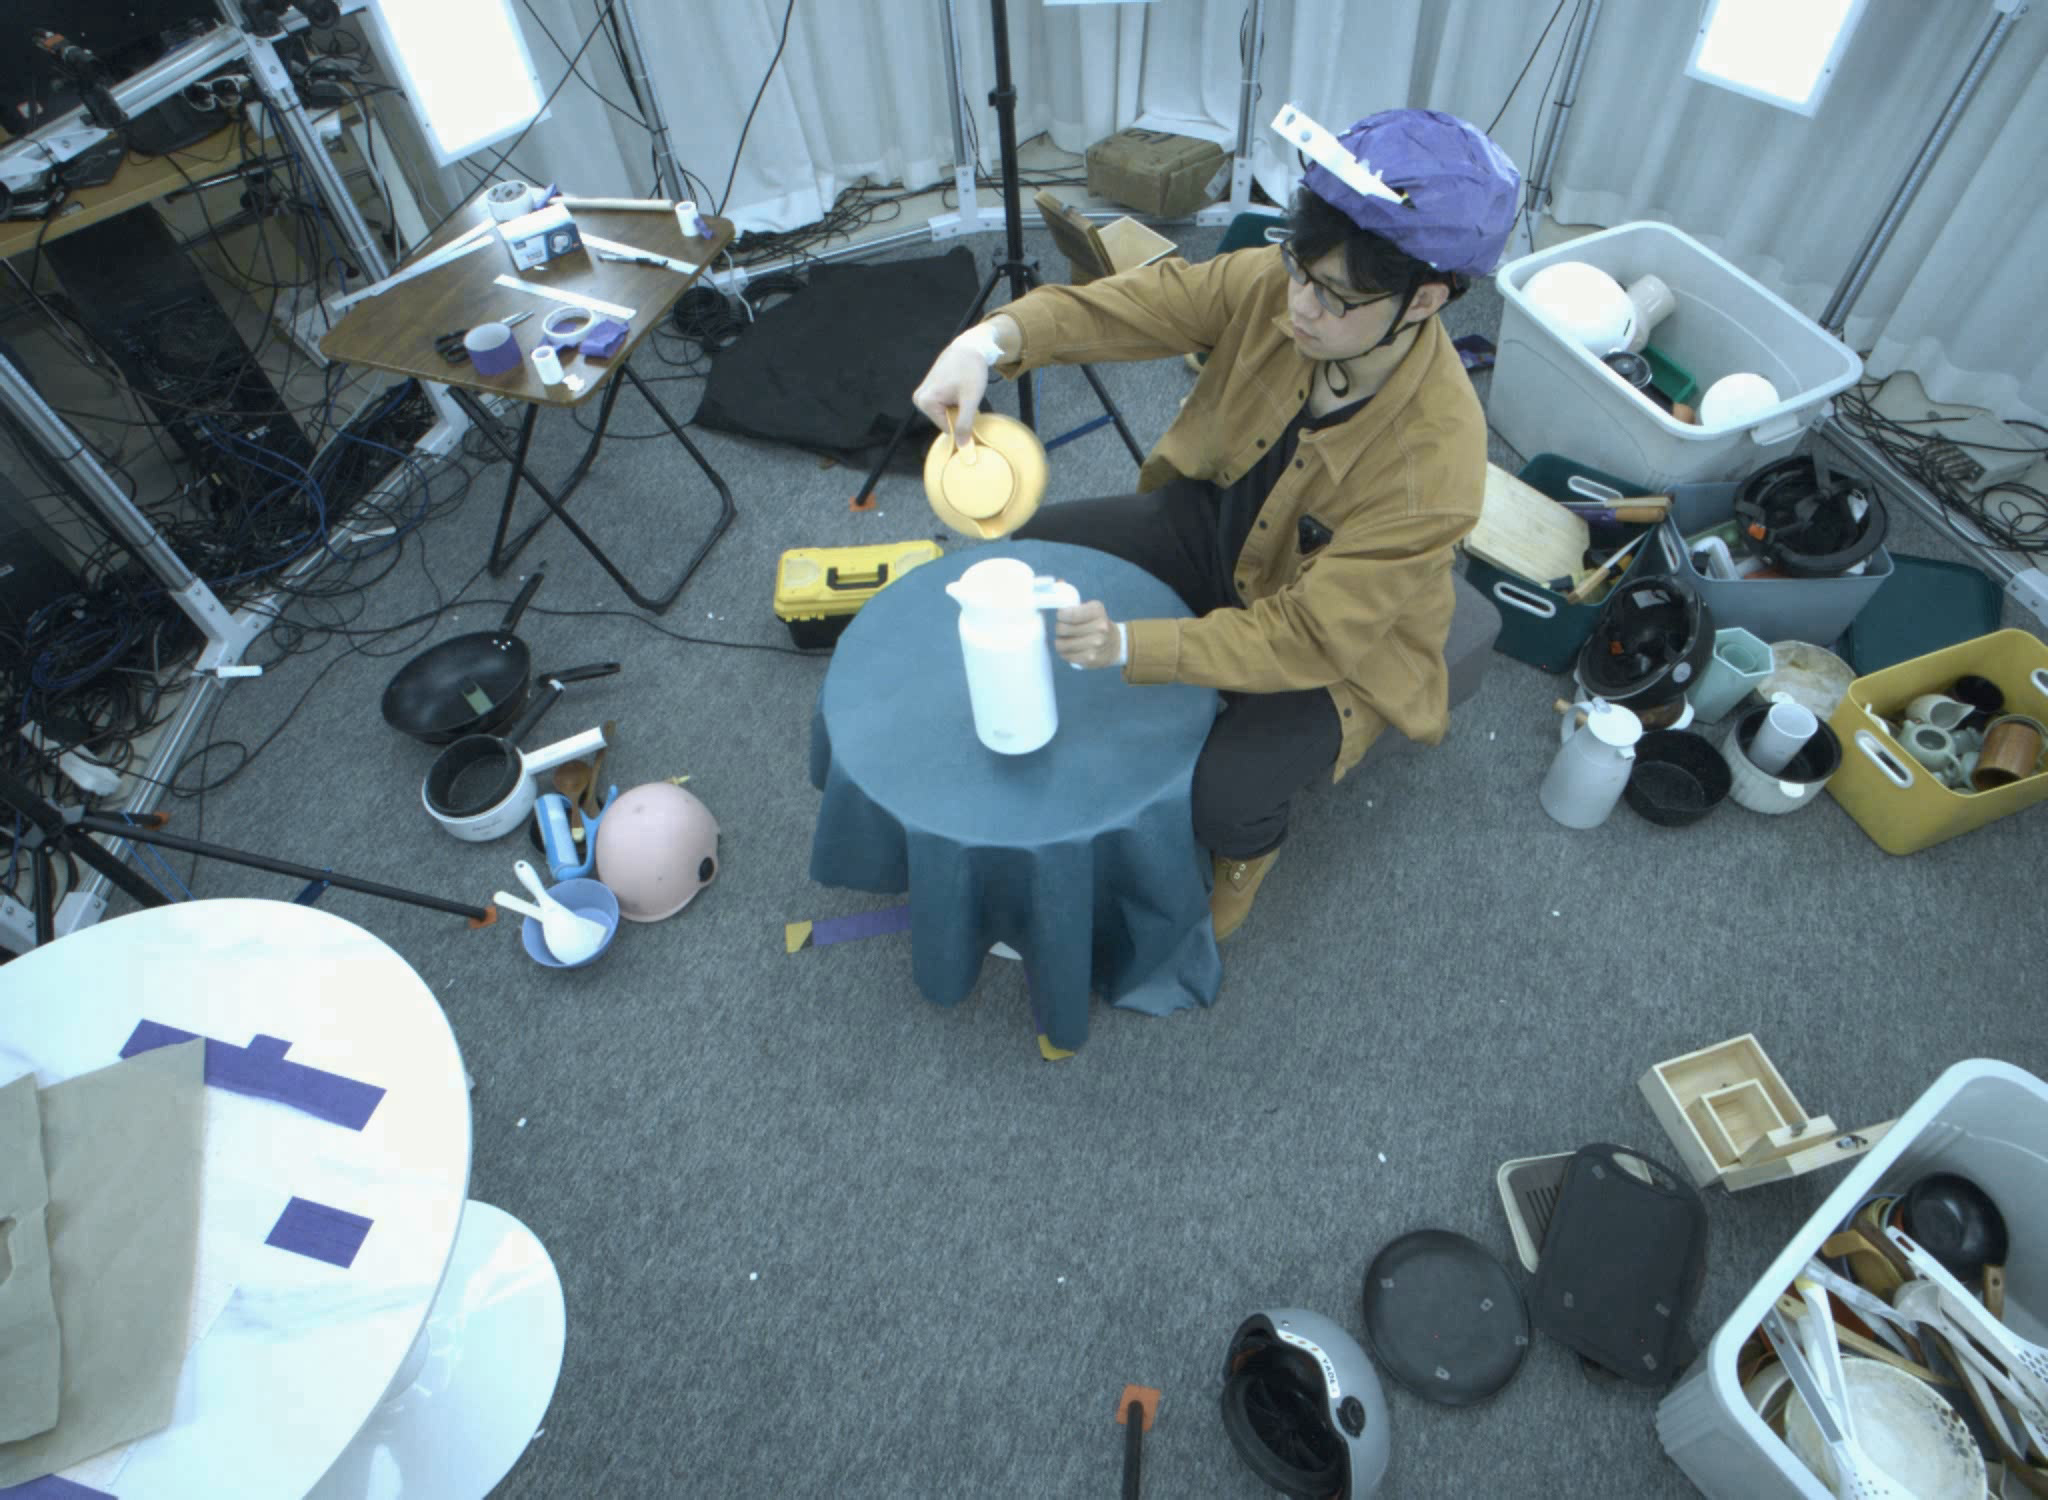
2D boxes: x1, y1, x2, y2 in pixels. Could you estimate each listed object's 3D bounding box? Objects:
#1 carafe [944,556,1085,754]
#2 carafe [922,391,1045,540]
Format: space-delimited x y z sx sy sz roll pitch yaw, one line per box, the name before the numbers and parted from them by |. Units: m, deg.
carafe | -0.005 -0.126 1.652 0.172 0.272 0.122 -2 44 5
carafe | -0.058 -0.380 1.605 0.163 0.204 0.258 -14 16 3
